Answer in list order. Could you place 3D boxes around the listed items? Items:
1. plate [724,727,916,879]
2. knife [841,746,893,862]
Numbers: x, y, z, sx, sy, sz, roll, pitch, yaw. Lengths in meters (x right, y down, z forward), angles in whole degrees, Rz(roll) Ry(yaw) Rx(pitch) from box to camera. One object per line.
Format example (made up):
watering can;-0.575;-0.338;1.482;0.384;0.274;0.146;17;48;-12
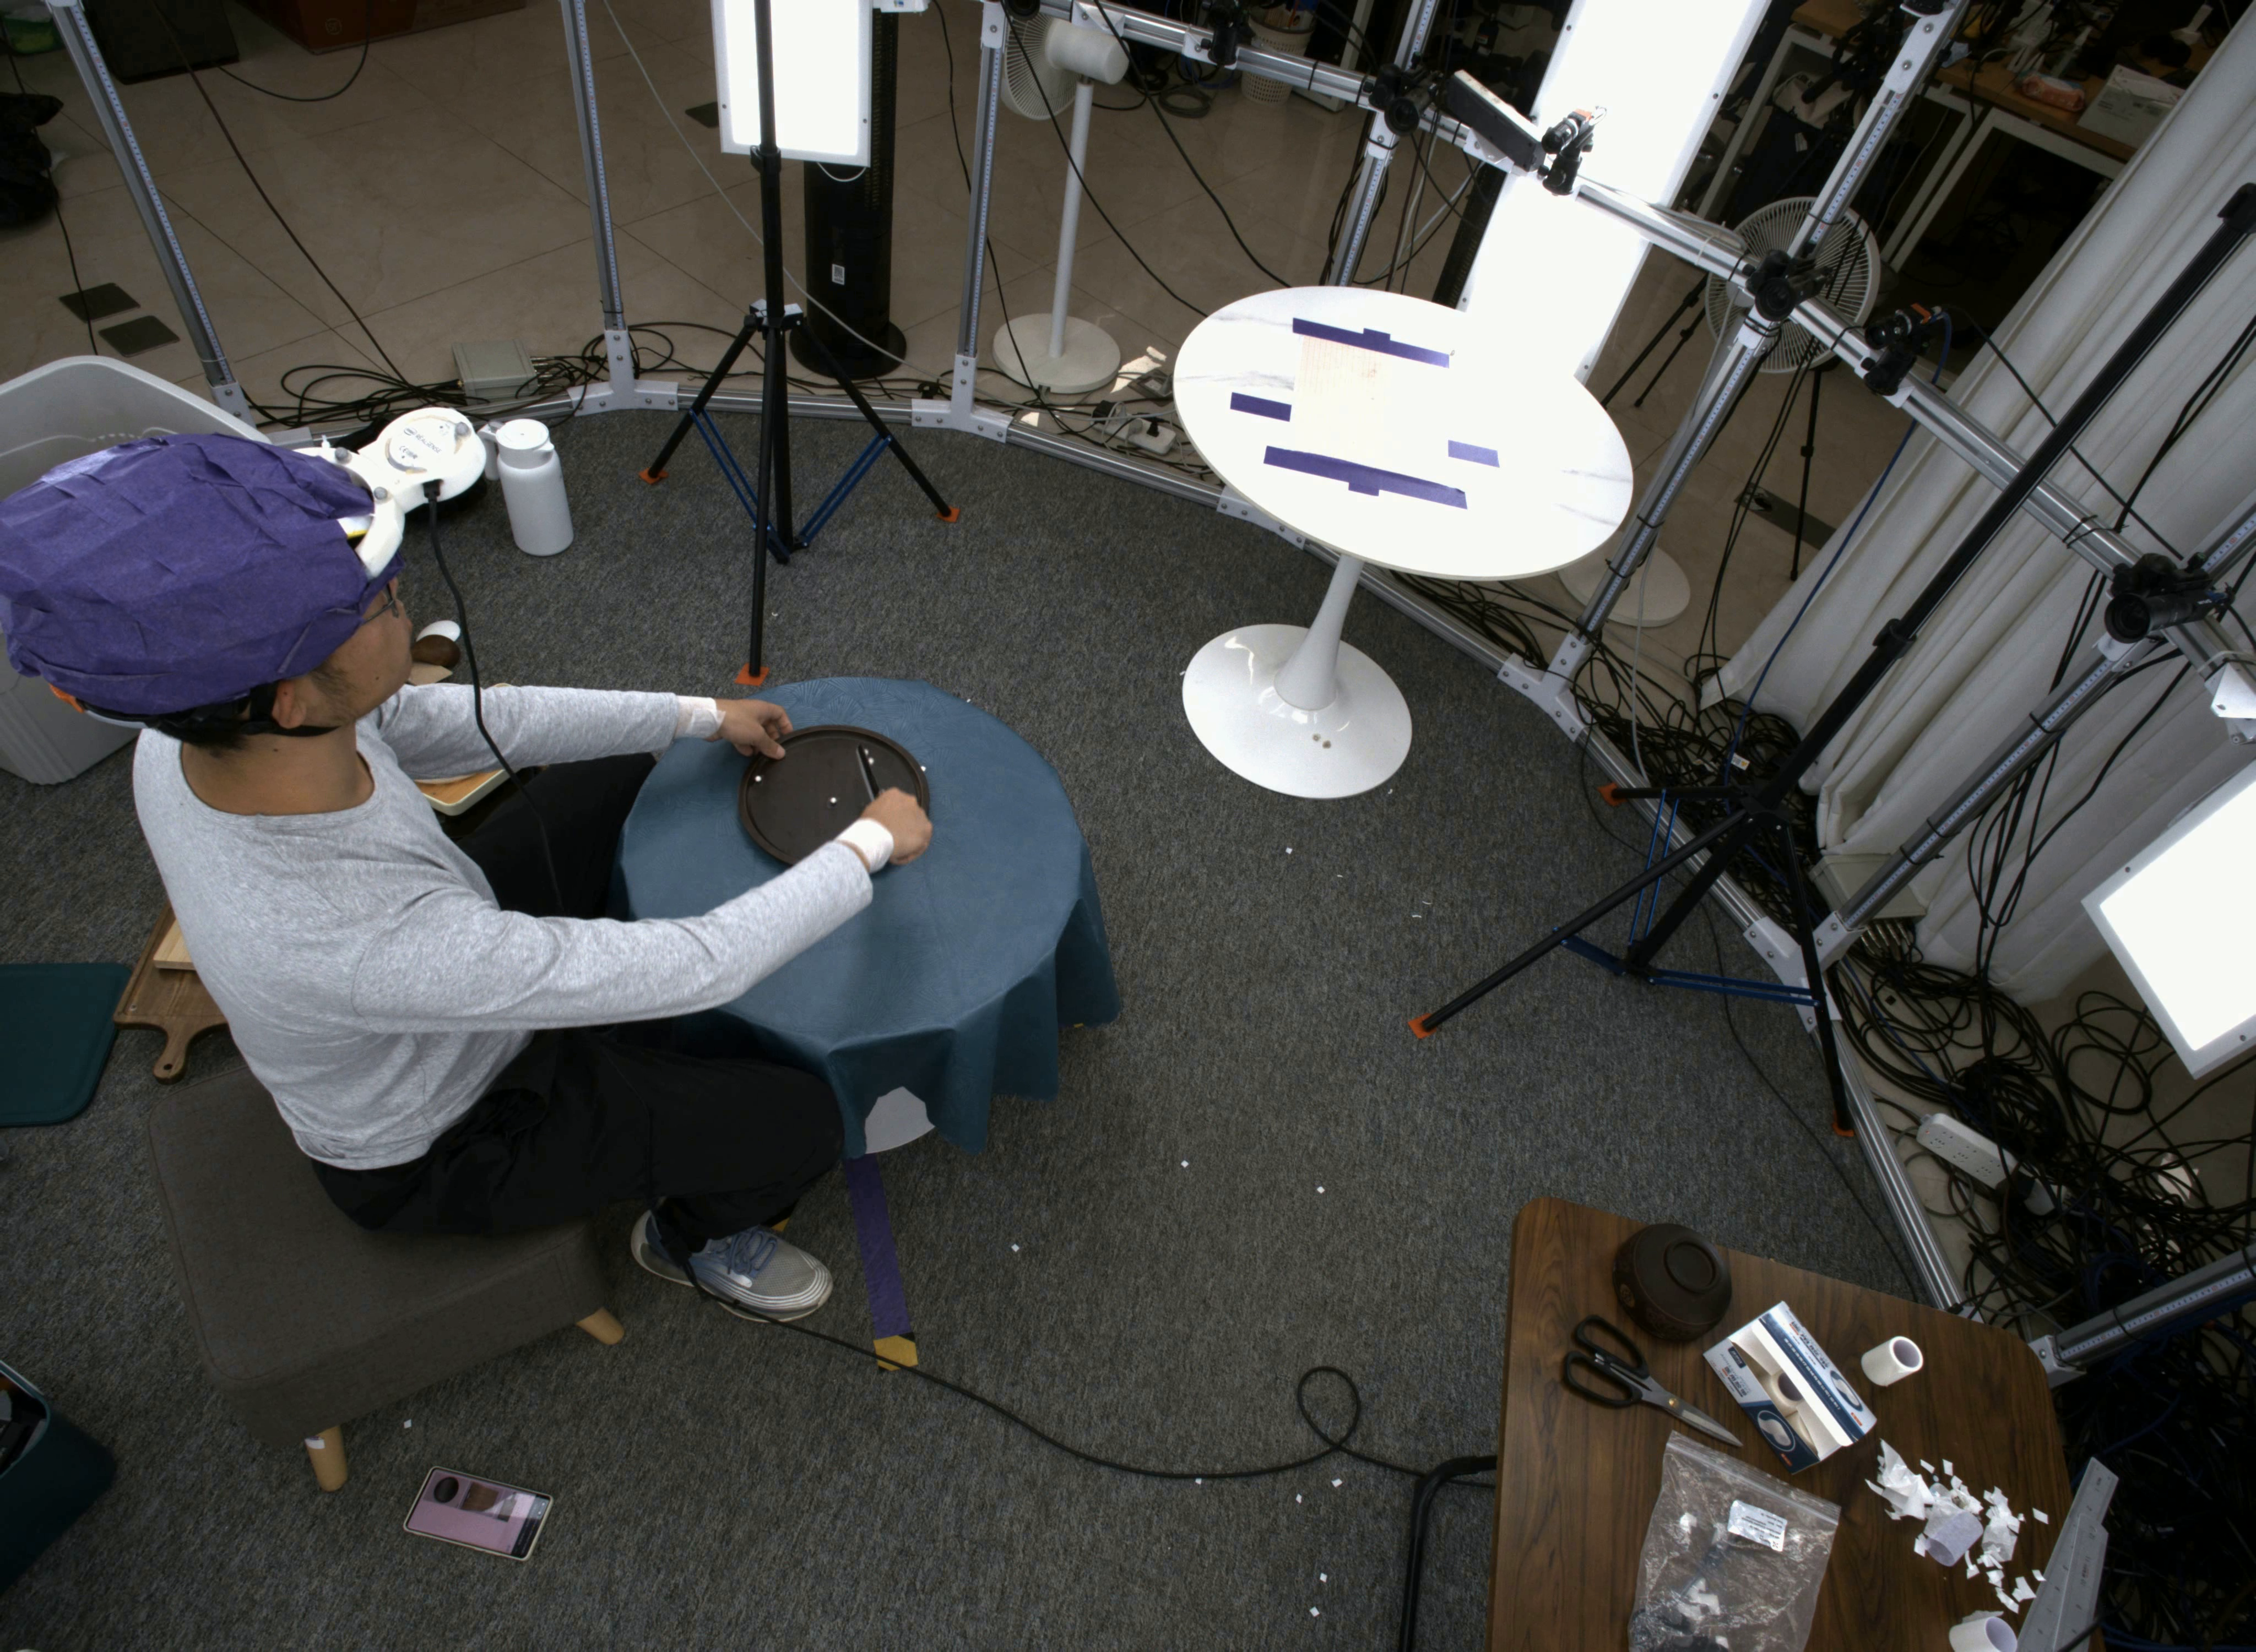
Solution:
plate;-0.414;-0.034;1.747;0.254;0.029;0.250;8;55;-9
knife;-0.338;-0.033;1.648;0.020;0.051;0.279;-5;31;-22
